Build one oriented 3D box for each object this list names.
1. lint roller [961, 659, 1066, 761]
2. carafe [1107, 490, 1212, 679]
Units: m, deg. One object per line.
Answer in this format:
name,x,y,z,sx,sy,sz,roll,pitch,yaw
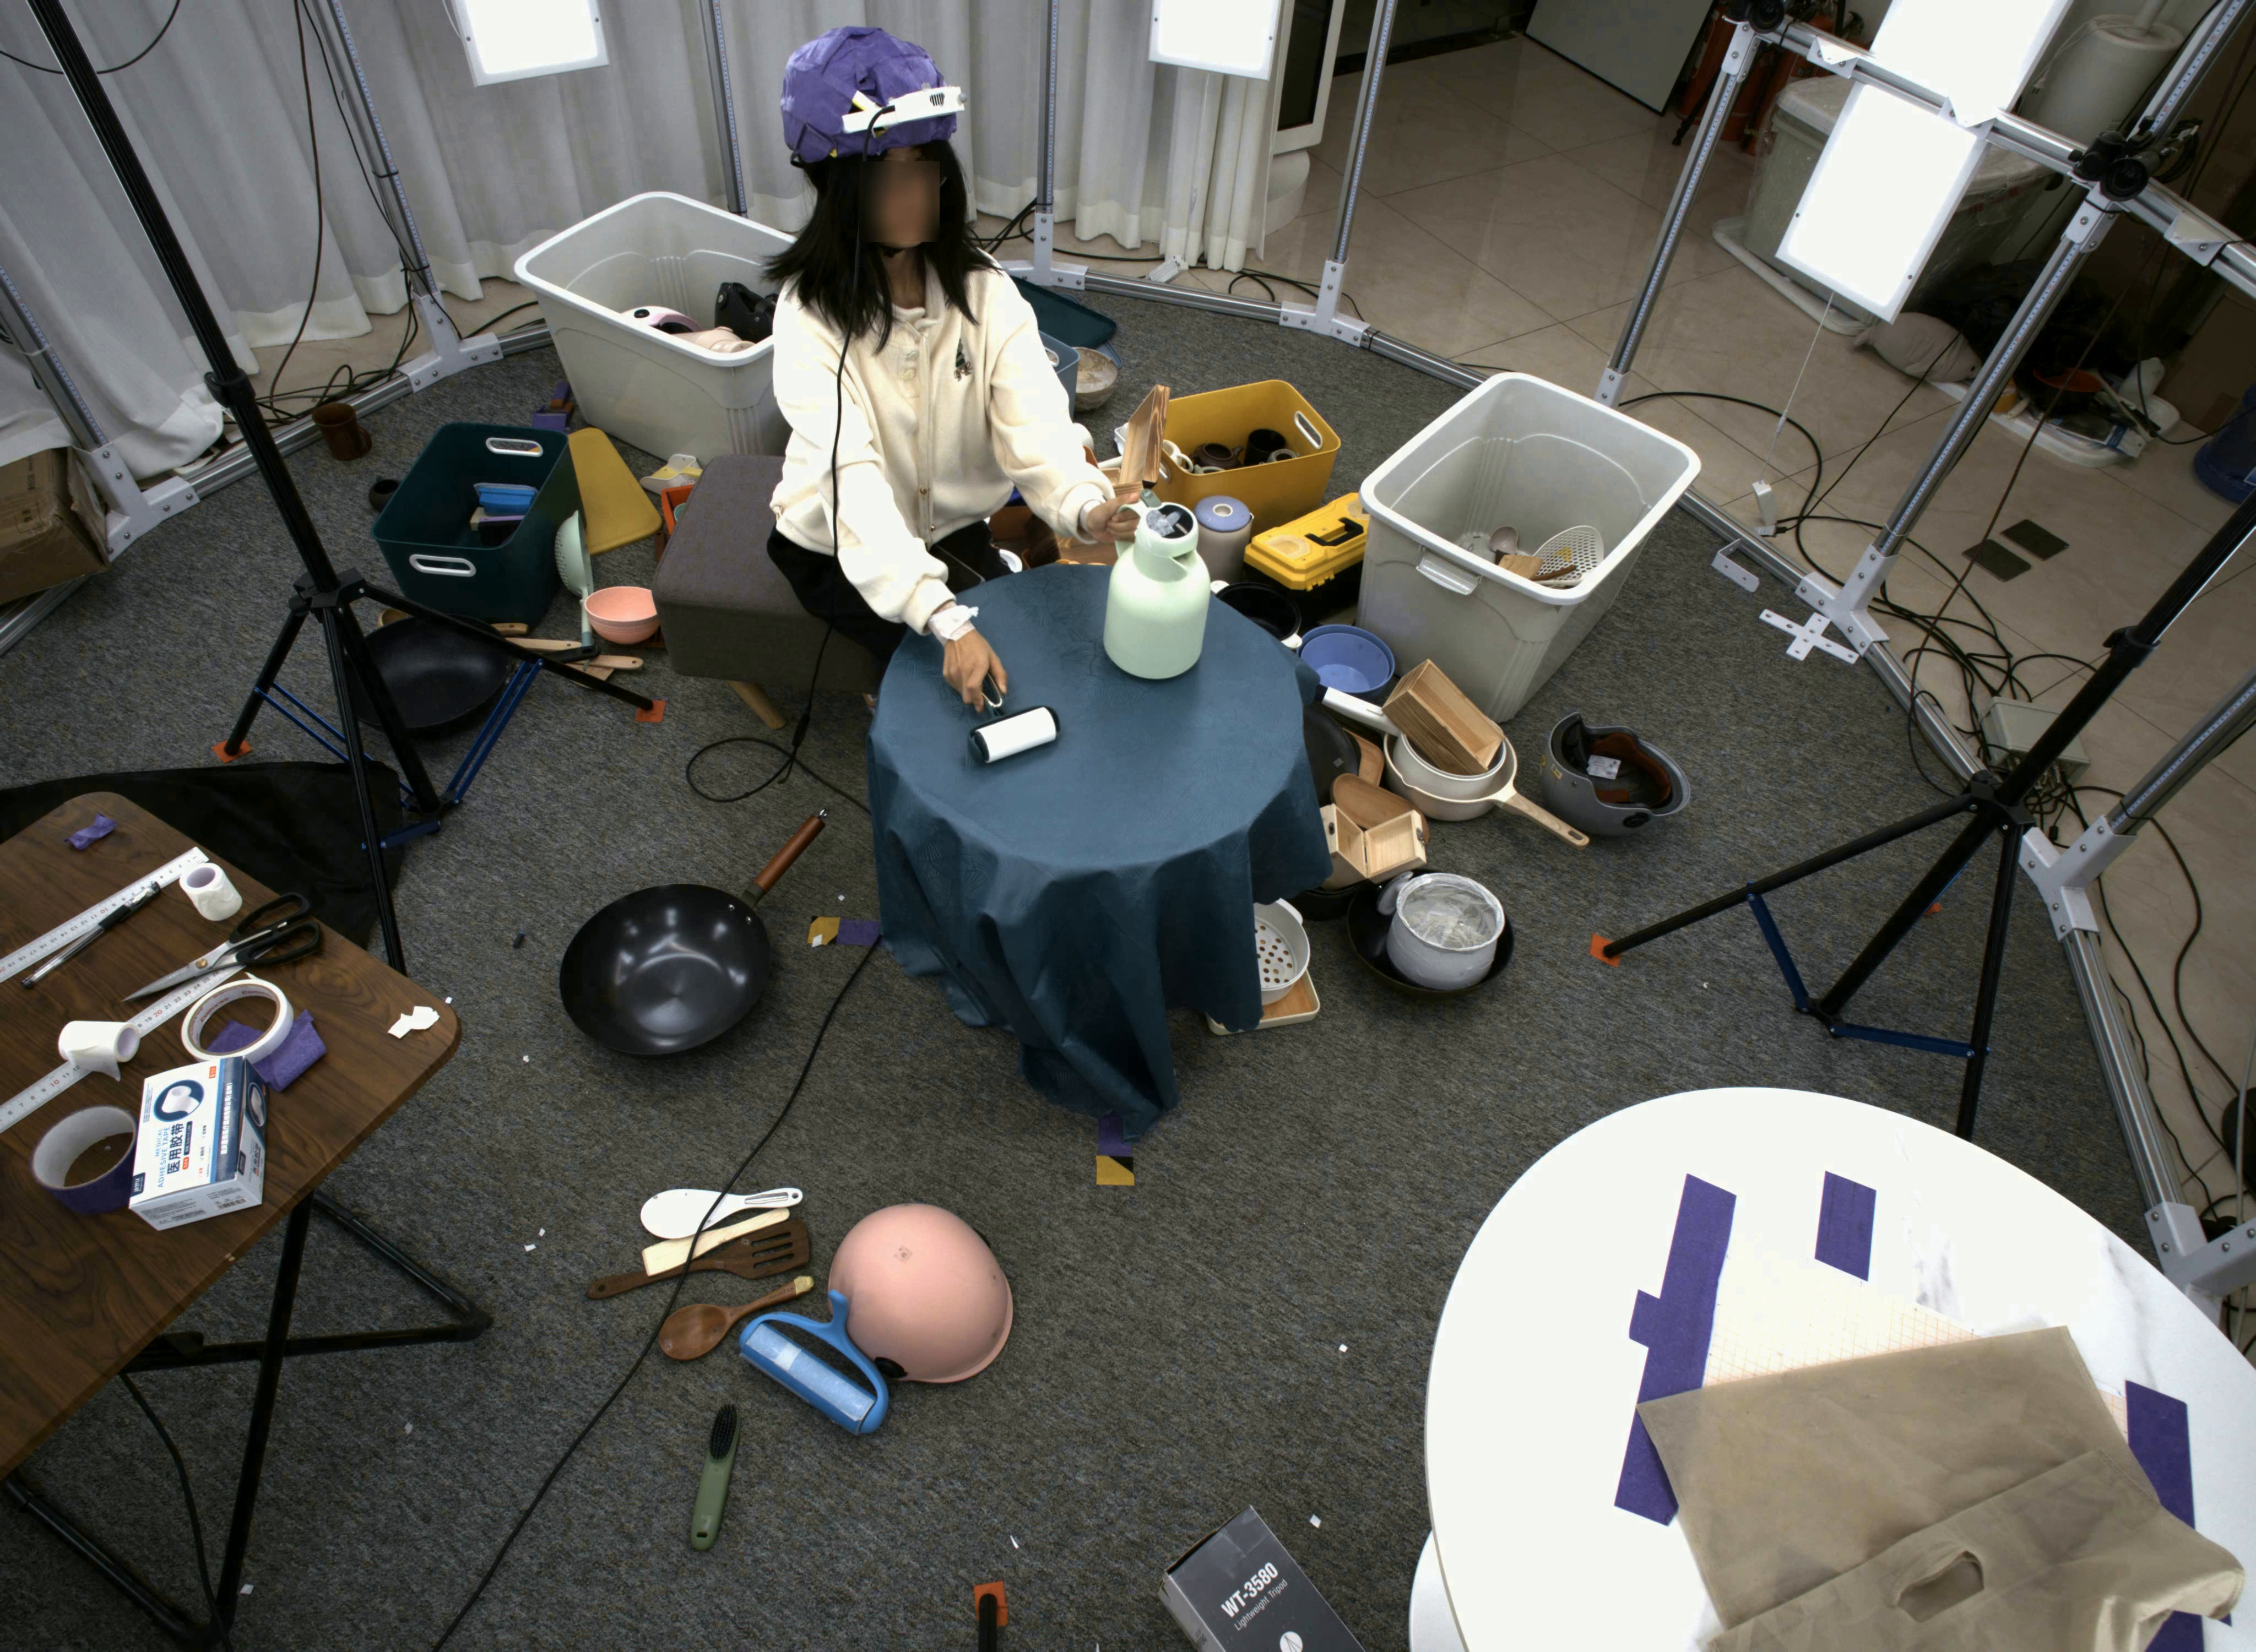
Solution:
lint roller,-0.184,-0.177,1.767,0.134,0.047,0.183,-20,62,-21
carafe,0.039,-0.343,1.801,0.145,0.250,0.190,-24,57,-18
